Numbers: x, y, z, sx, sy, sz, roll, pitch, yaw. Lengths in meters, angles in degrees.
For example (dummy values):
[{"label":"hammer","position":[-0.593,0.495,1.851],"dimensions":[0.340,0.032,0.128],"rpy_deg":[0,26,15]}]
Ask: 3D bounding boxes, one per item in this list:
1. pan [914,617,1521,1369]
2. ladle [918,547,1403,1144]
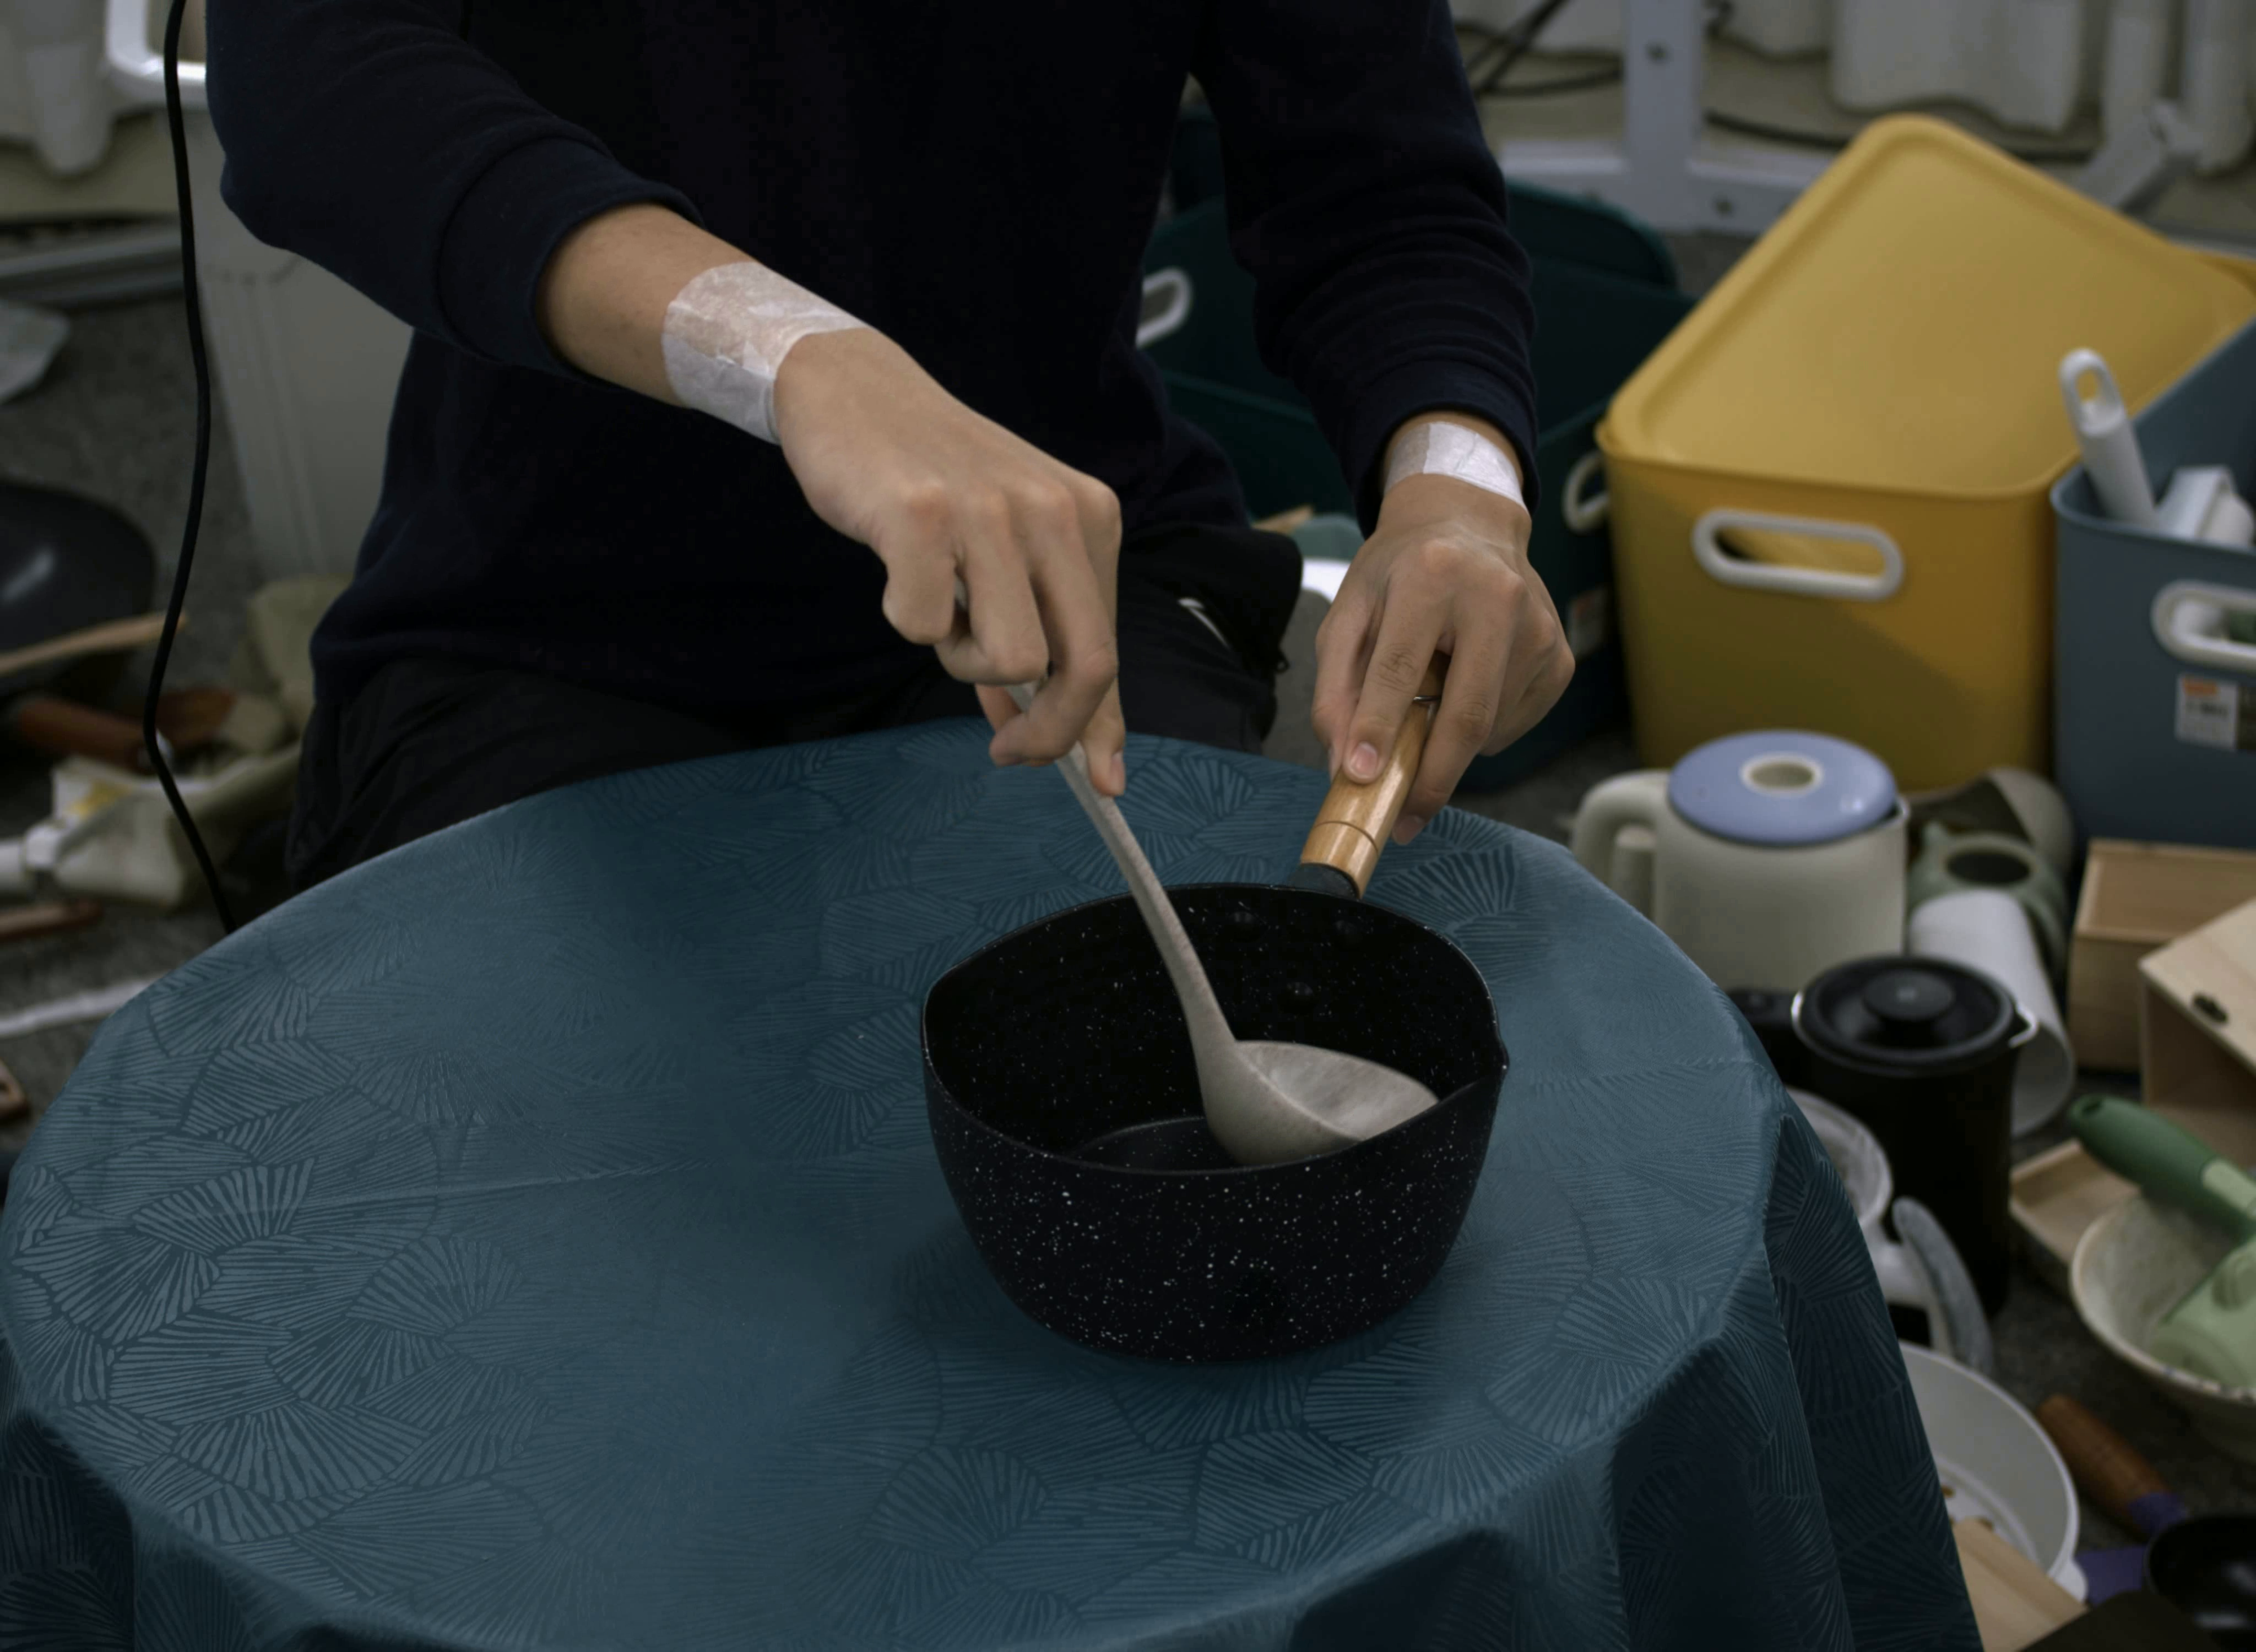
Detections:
[{"label":"pan","position":[0.052,0.052,1.875],"dimensions":[0.206,0.107,0.349],"rpy_deg":[5,30,18]},{"label":"ladle","position":[0.017,0.006,1.760],"dimensions":[0.070,0.272,0.090],"rpy_deg":[-33,31,-12]}]
